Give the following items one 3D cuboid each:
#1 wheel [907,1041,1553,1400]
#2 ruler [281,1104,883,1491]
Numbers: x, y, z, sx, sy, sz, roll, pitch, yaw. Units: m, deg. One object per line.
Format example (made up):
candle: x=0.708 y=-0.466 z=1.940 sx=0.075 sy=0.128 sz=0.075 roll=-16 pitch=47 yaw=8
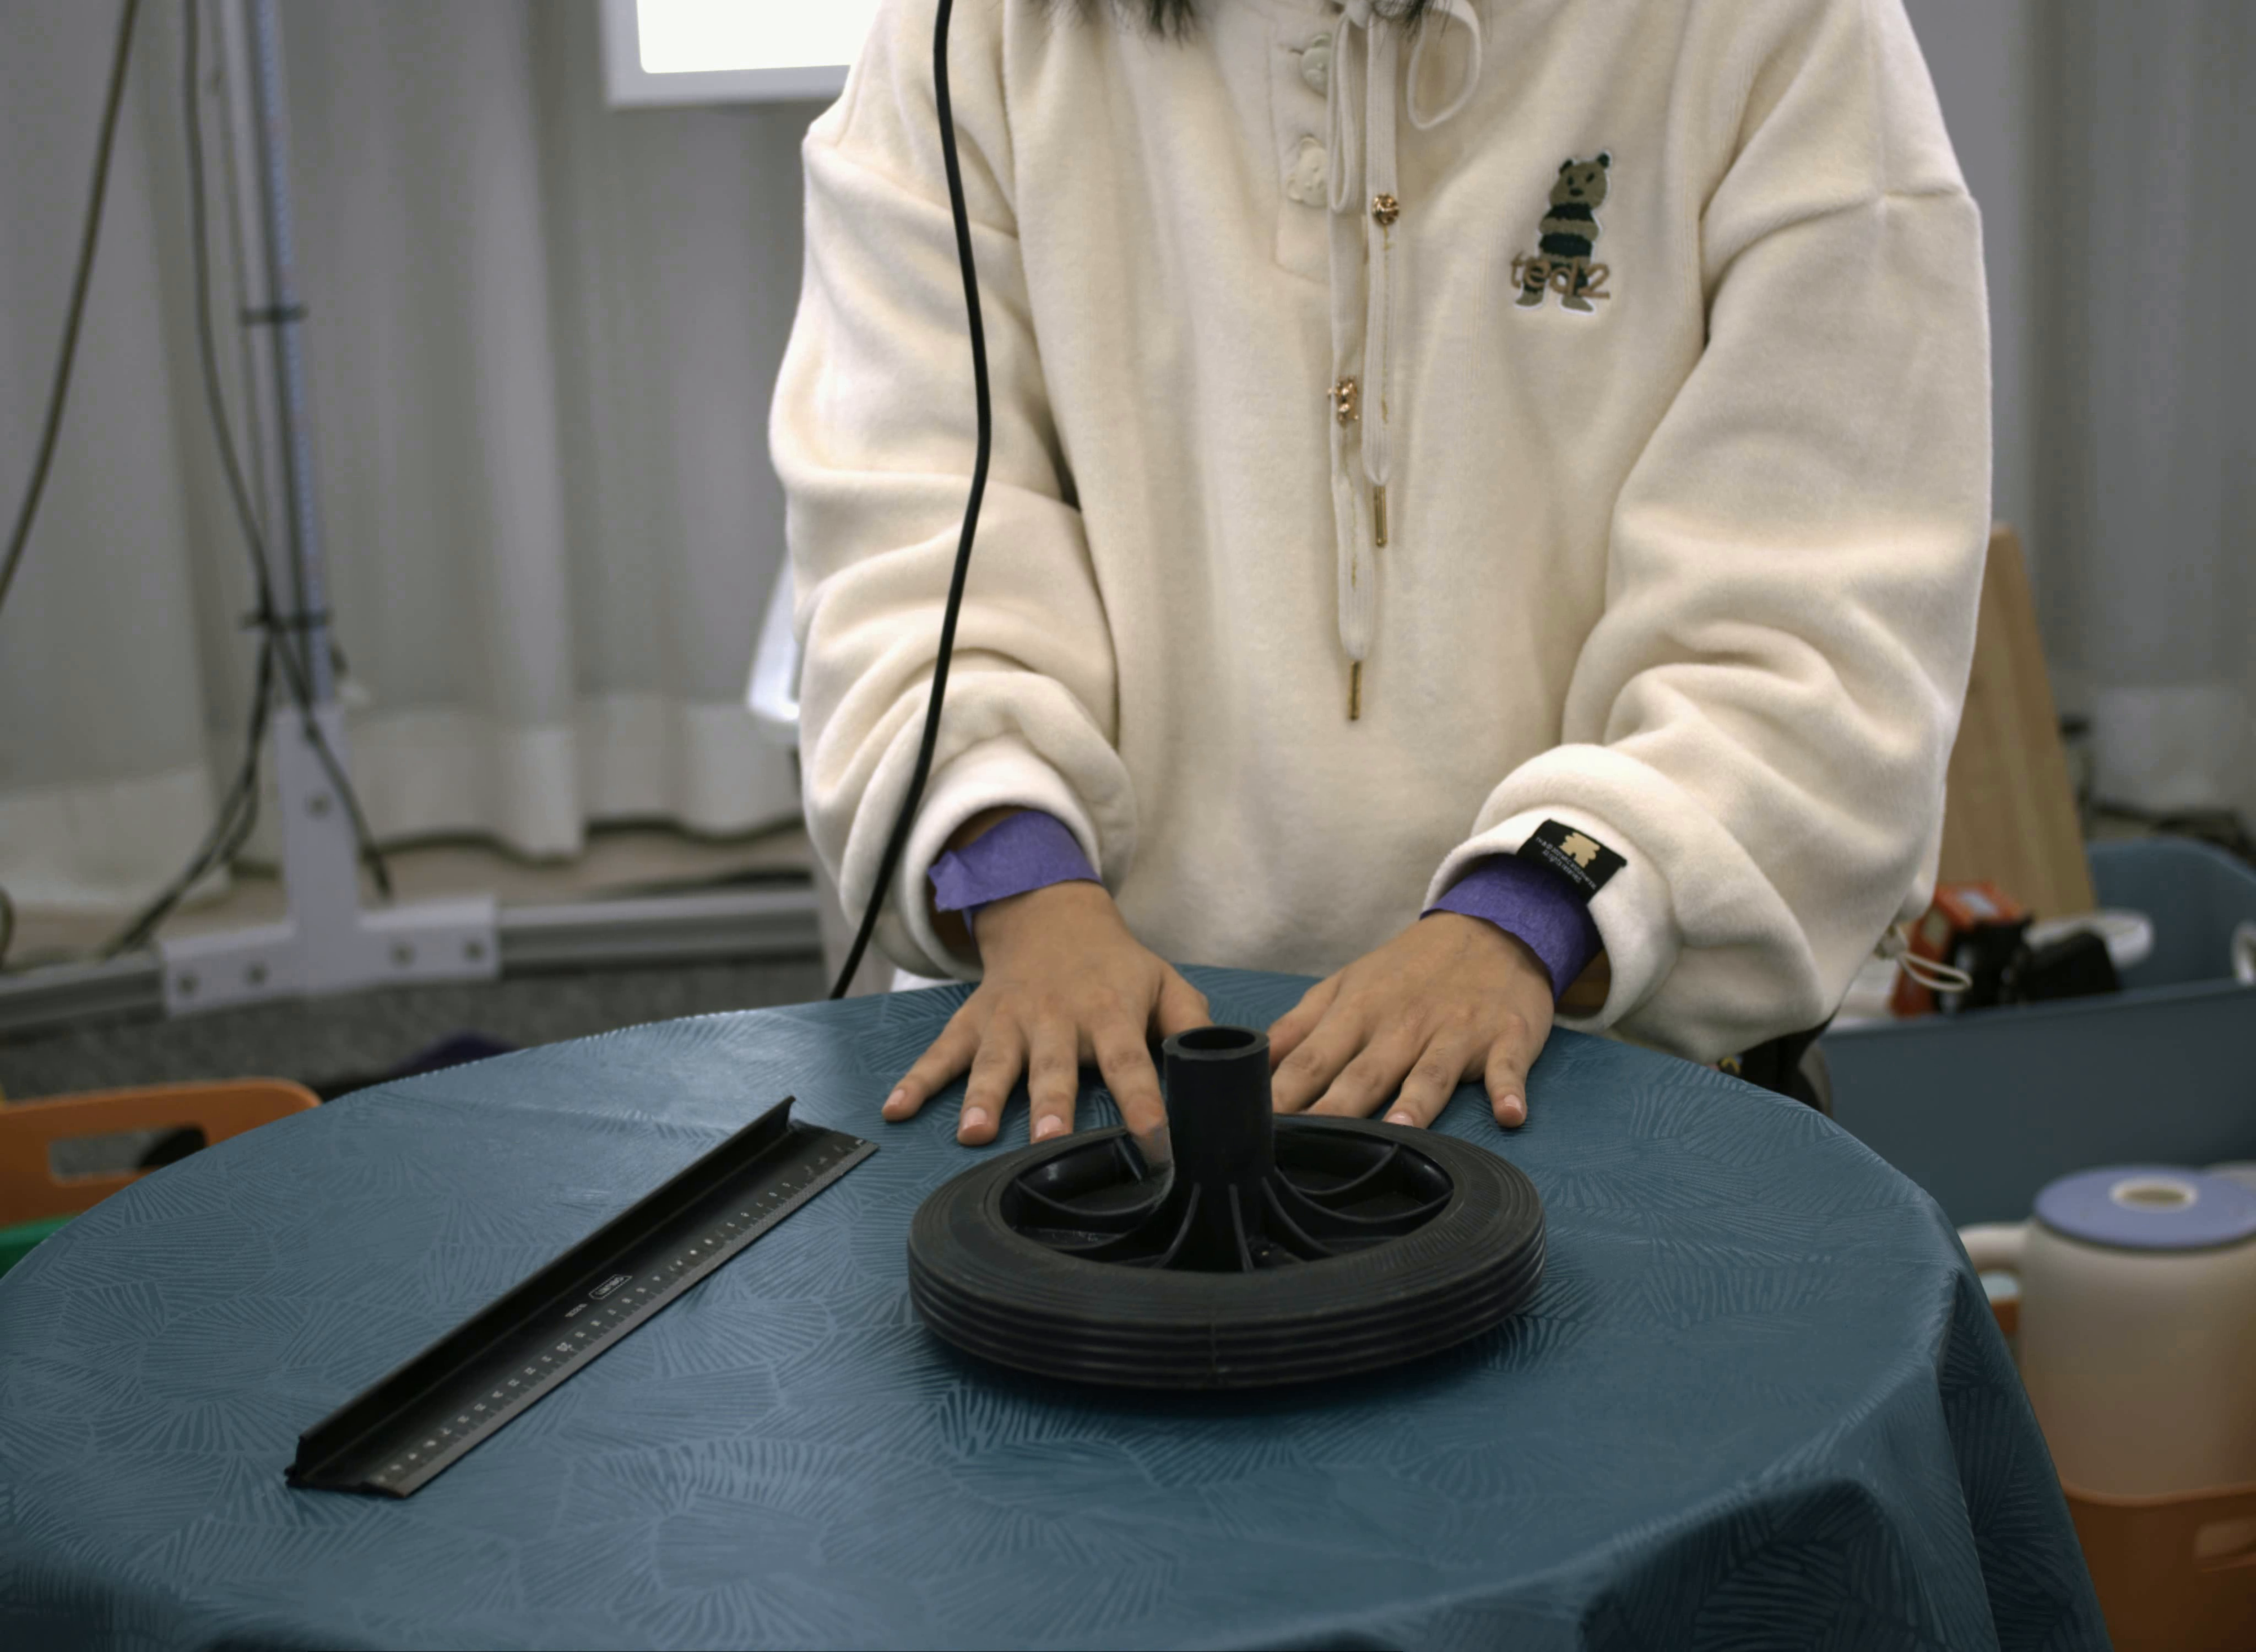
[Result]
wheel: x=0.029 y=0.105 z=1.597 sx=0.191 sy=0.079 sz=0.187 roll=10 pitch=19 yaw=39
ruler: x=-0.156 y=0.136 z=1.633 sx=0.039 sy=0.017 sz=0.313 roll=8 pitch=17 yaw=22
